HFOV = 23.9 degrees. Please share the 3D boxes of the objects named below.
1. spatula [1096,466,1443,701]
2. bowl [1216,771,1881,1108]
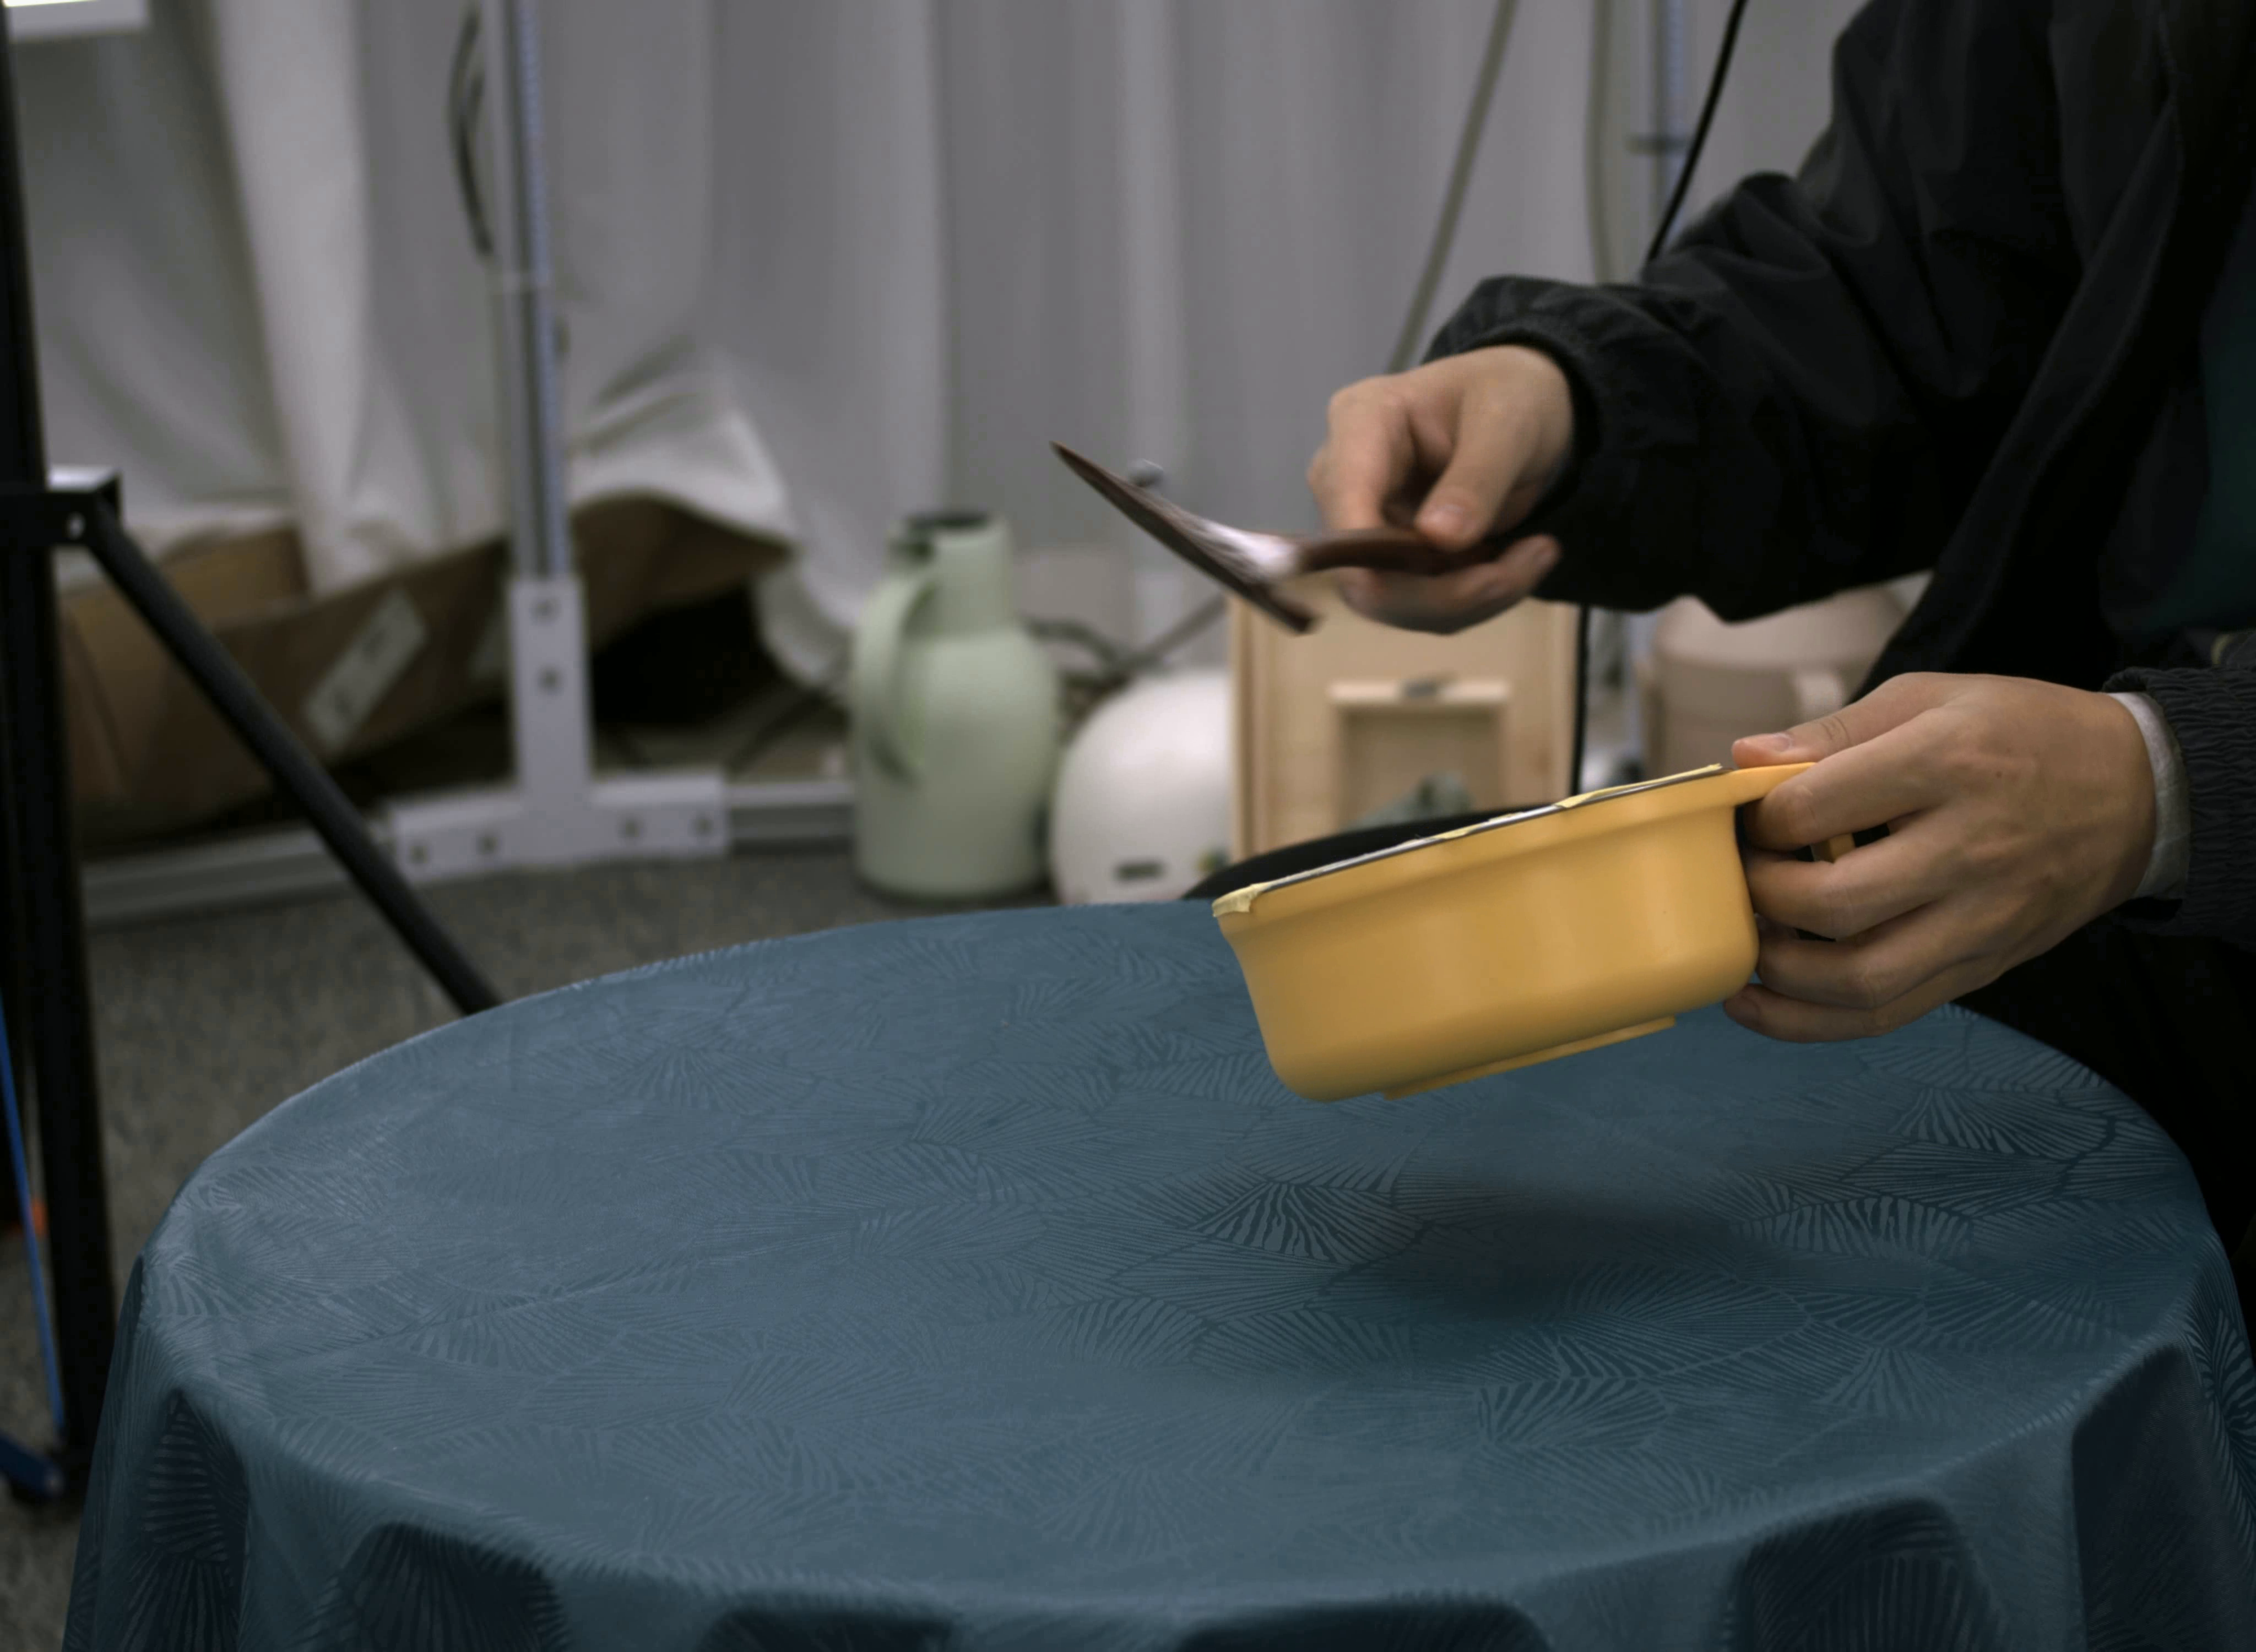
[{"bbox_3d":[0.058,-0.086,1.692,0.086,0.024,0.383,38,15,5],"label":"spatula"},{"bbox_3d":[0.119,0.033,1.492,0.177,0.075,0.154,-14,-2,-9],"label":"bowl"}]
